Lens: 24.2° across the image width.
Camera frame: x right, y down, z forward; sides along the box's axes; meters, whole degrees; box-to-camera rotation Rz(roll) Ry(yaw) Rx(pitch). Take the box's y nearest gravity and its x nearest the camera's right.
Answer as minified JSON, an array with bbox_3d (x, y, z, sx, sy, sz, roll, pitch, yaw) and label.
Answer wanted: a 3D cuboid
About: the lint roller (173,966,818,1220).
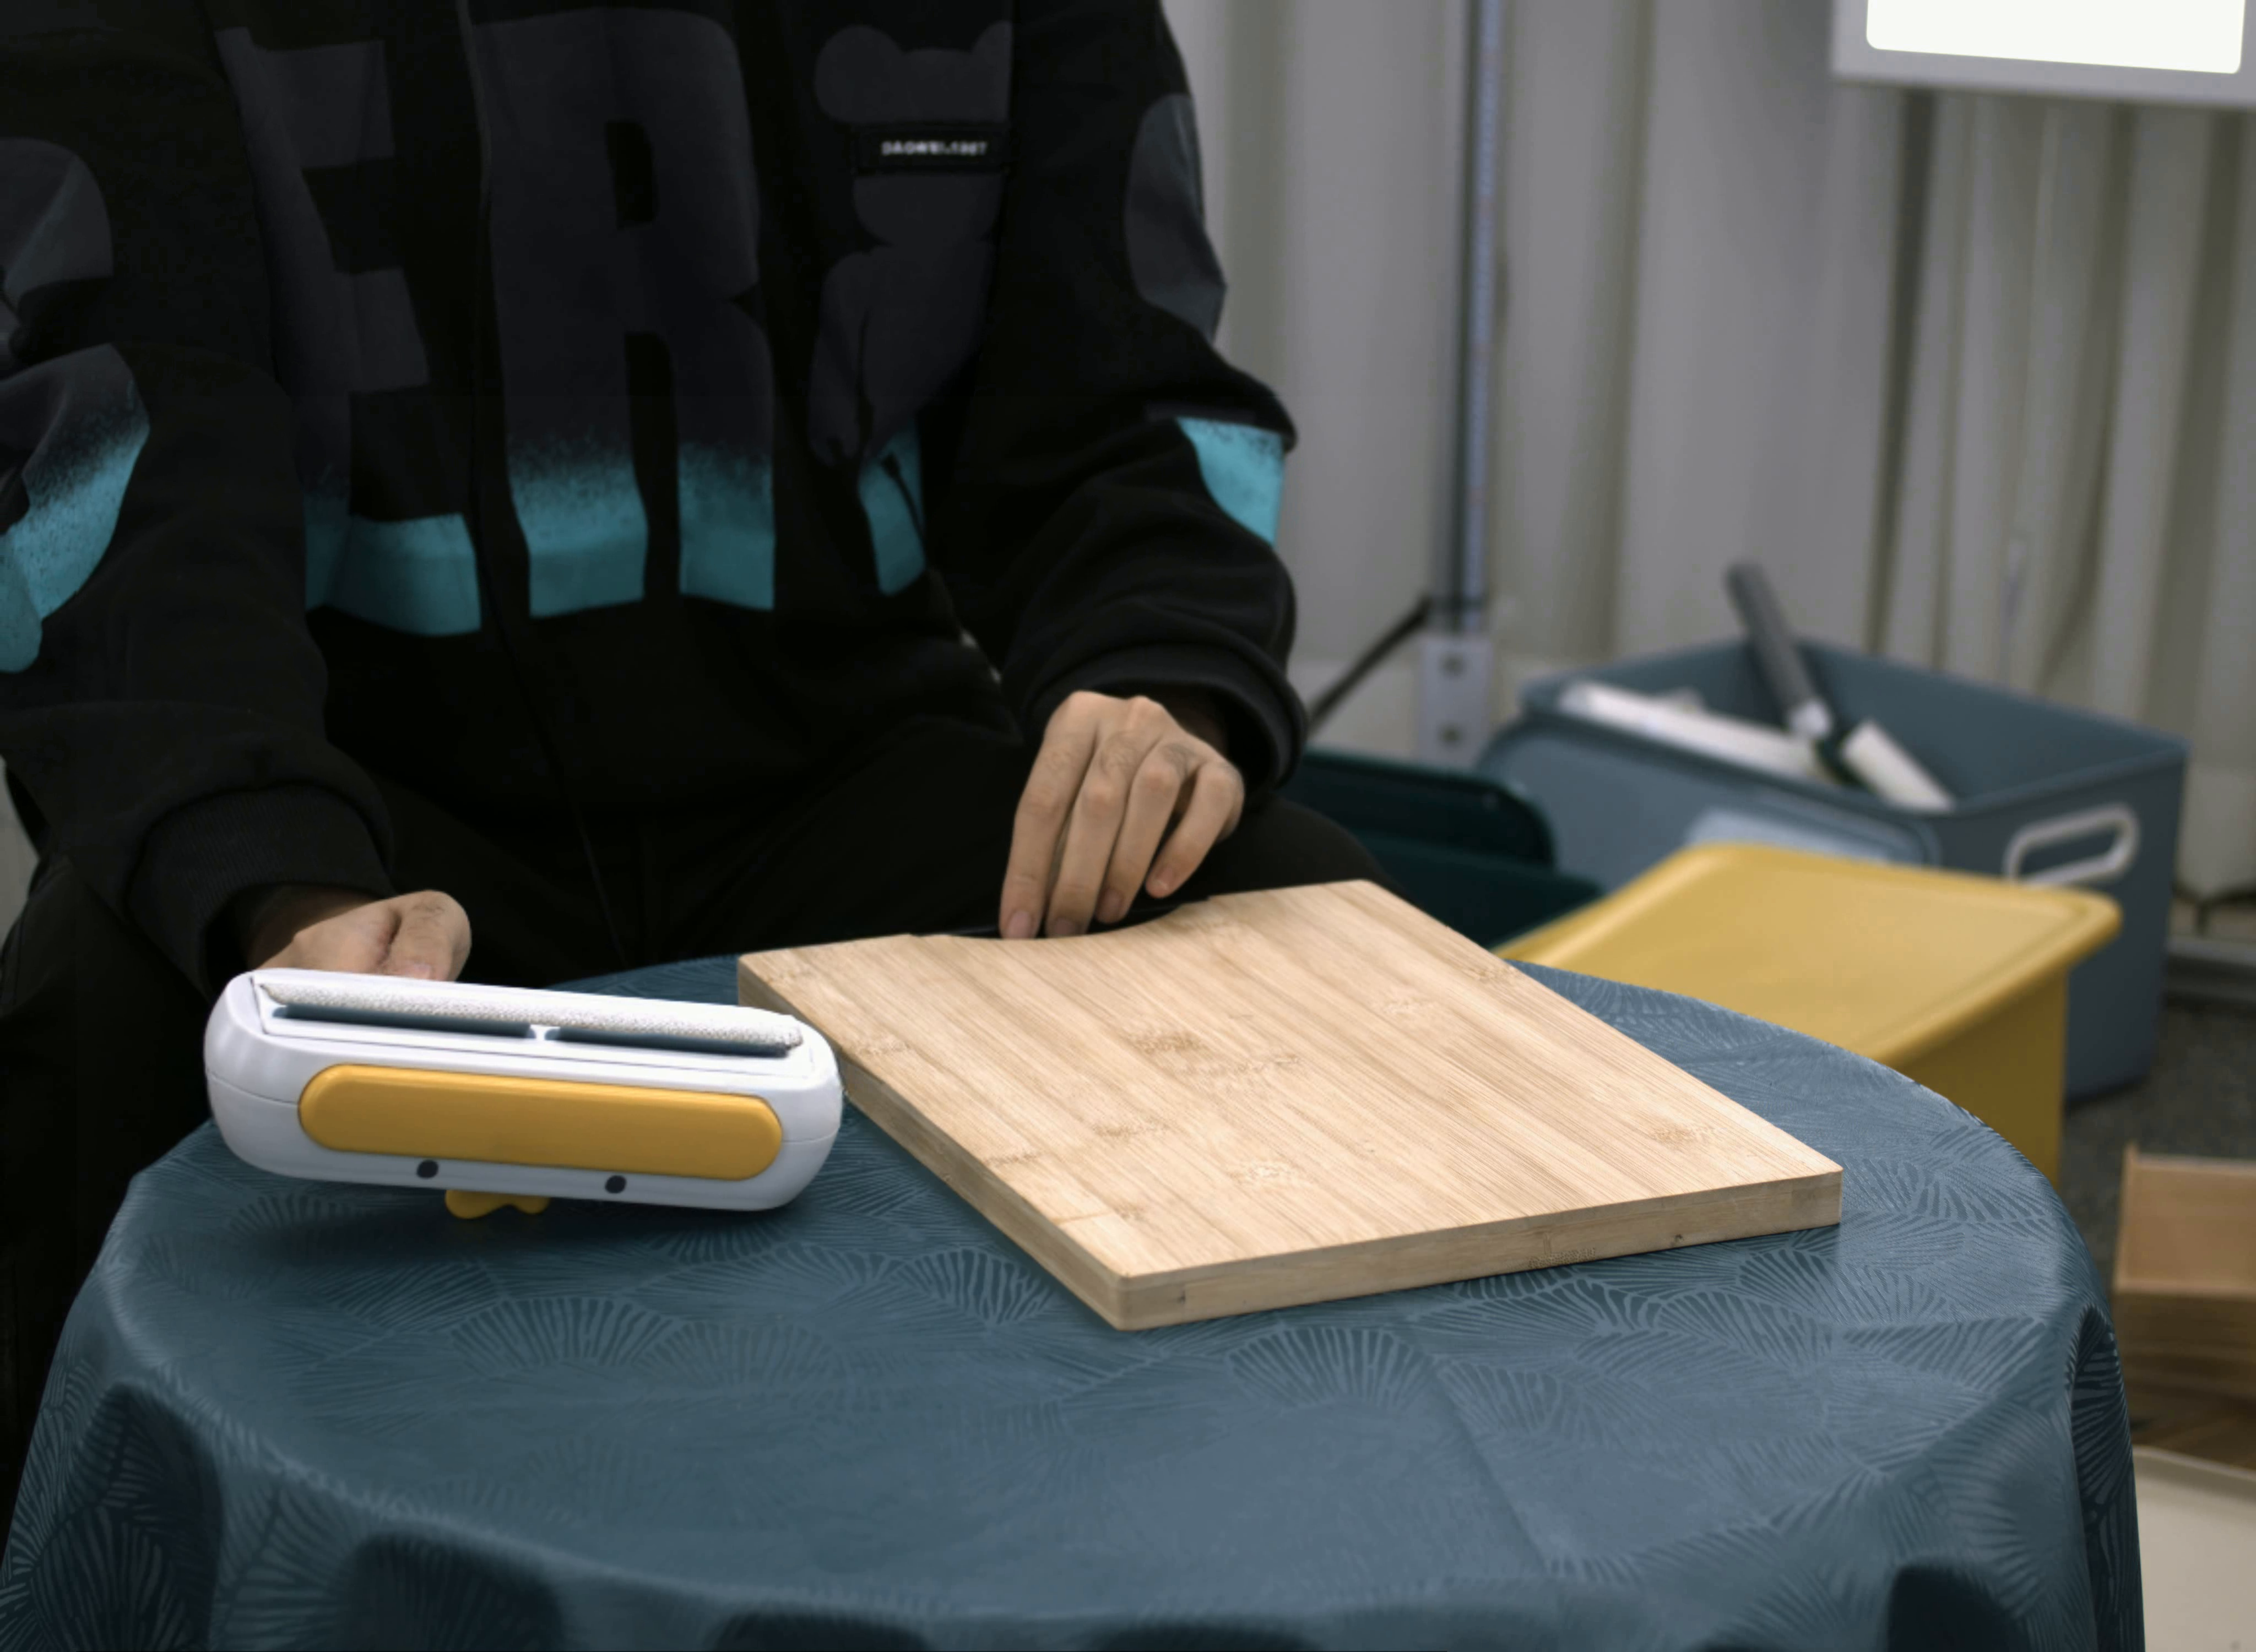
[{"bbox_3d":[-0.201,0.072,1.633,0.193,0.075,0.191,2,13,-14],"label":"lint roller"}]

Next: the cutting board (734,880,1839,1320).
[{"bbox_3d":[0.040,0.082,1.701,0.251,0.024,0.344,-6,17,-23],"label":"cutting board"}]
